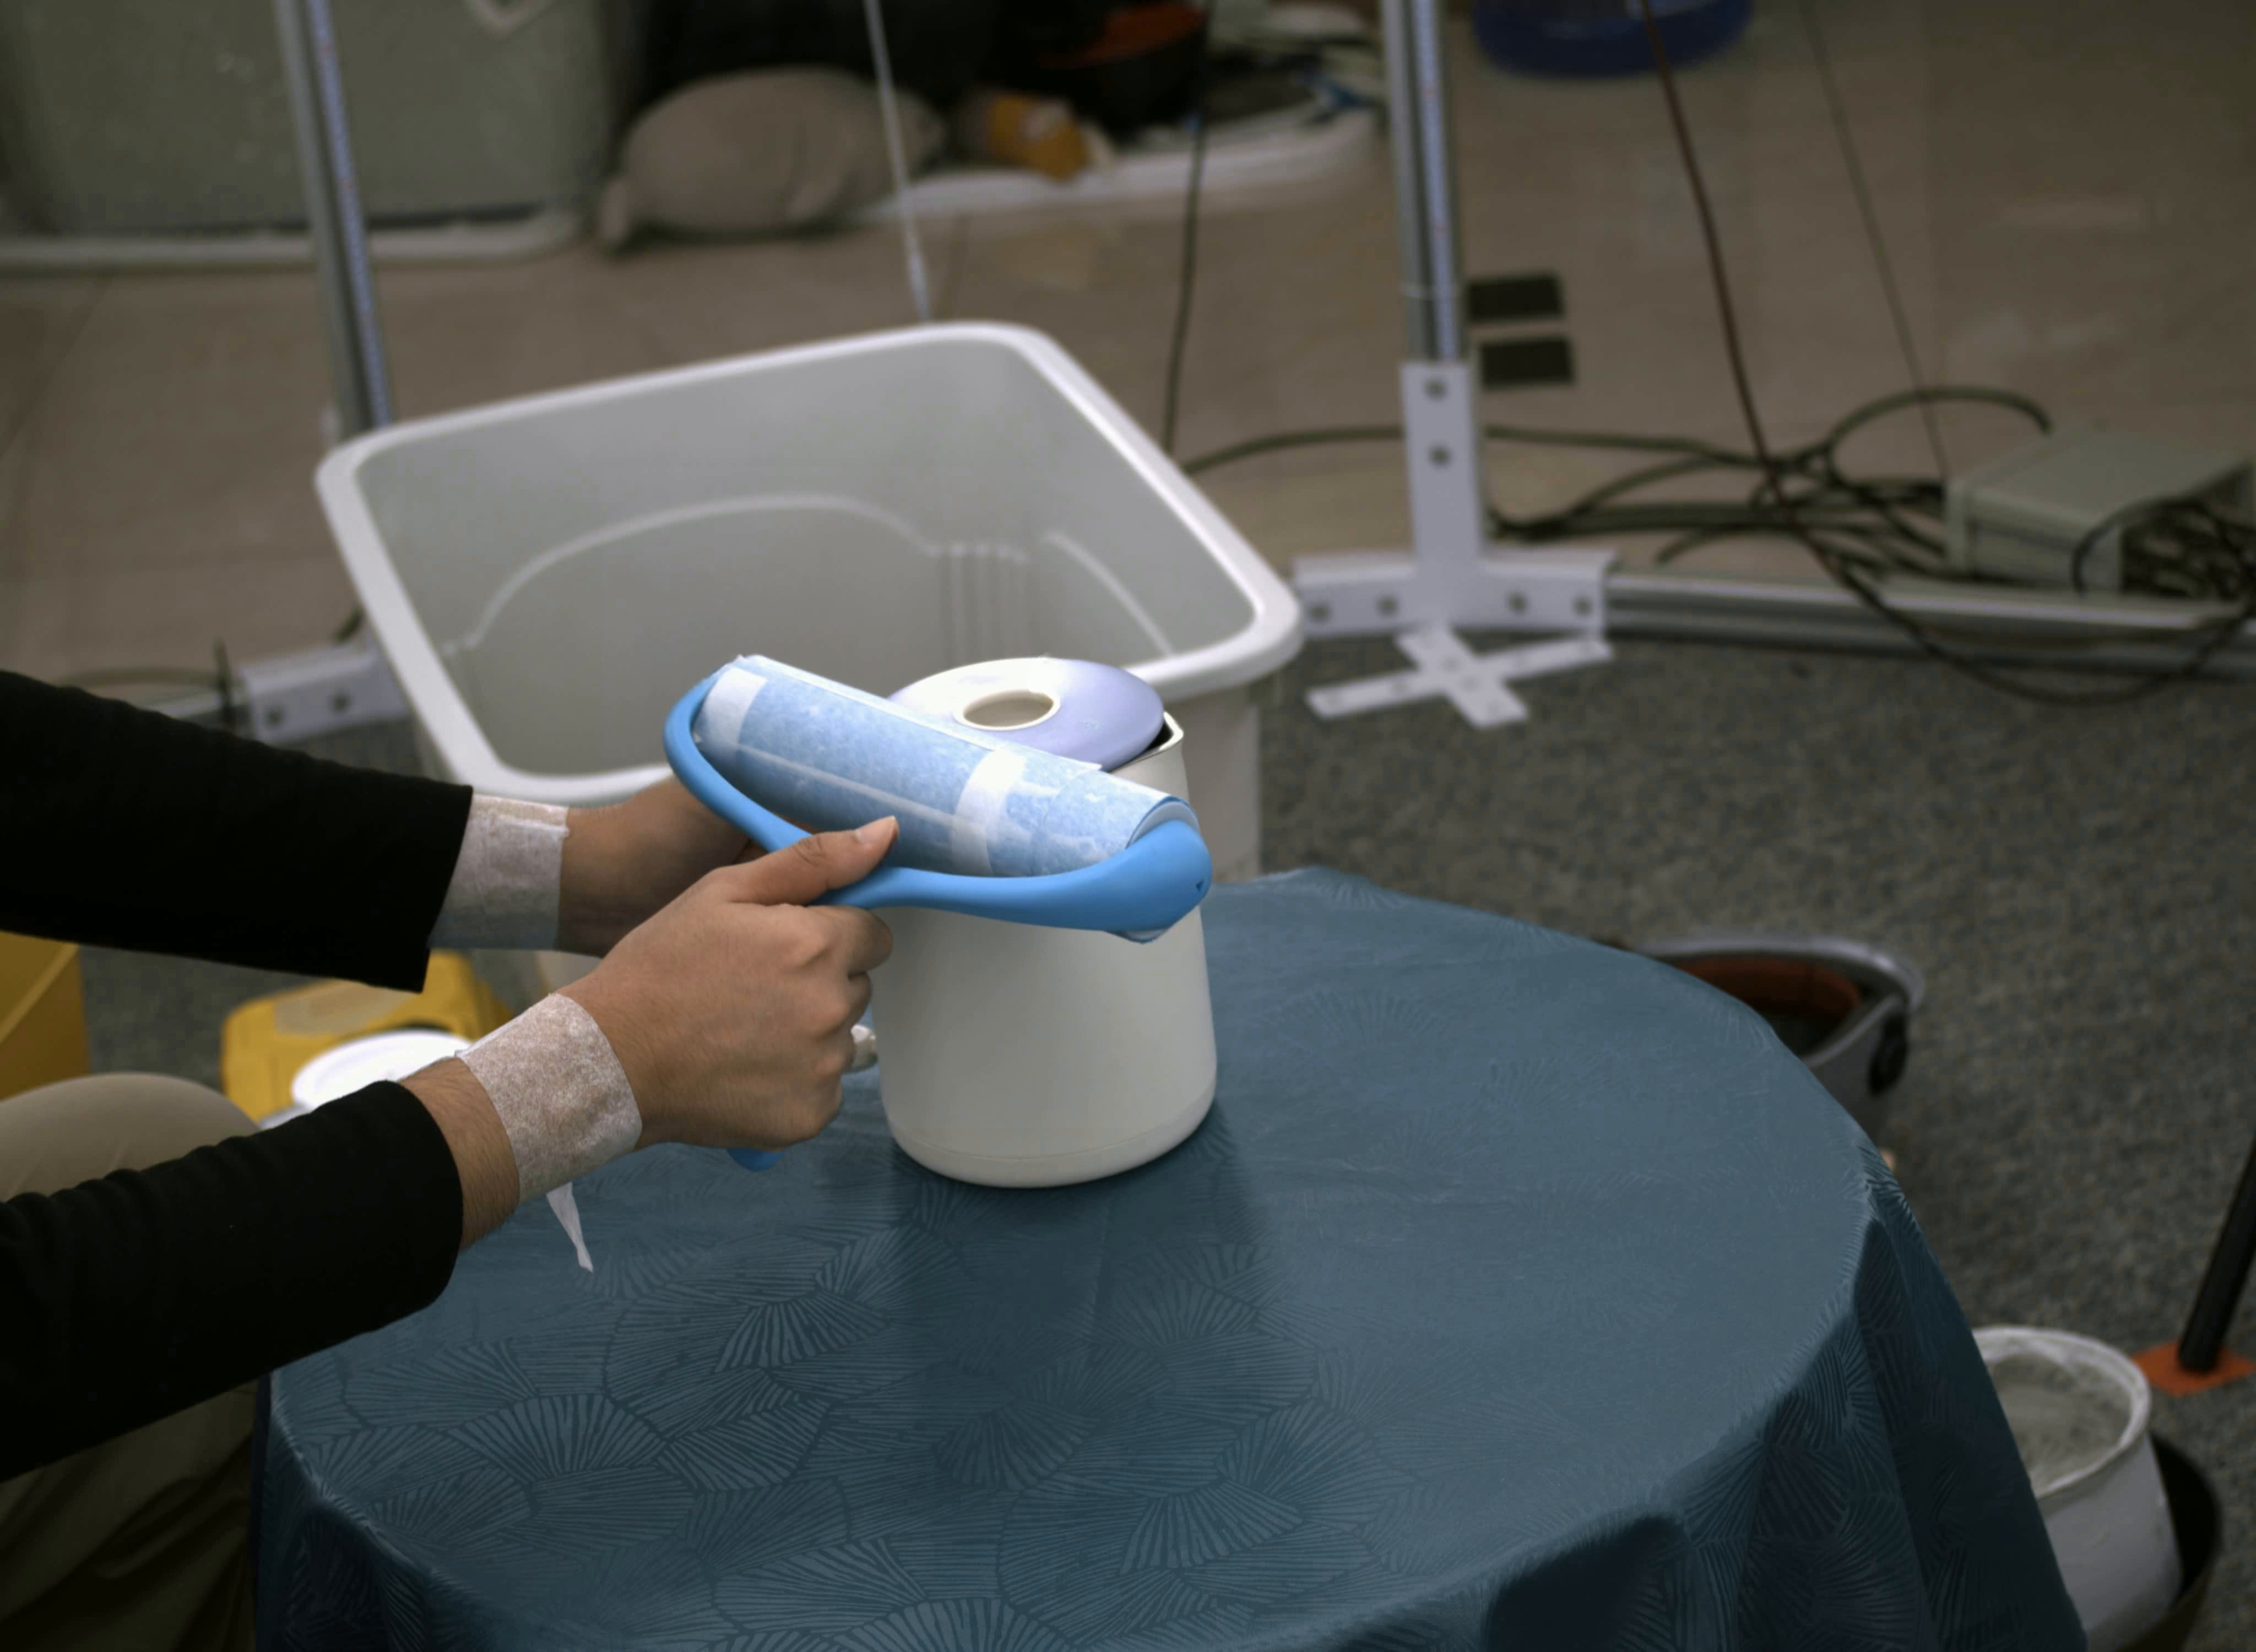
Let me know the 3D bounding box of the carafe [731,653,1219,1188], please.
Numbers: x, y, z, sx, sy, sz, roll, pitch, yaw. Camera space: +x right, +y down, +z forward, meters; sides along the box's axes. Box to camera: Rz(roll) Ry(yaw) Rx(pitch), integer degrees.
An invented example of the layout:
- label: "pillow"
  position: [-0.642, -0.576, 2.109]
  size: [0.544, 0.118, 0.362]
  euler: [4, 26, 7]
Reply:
- label: "carafe"
  position: [-0.061, 0.036, 2.177]
  size: [0.191, 0.185, 0.130]
  euler: [-1, 26, 15]

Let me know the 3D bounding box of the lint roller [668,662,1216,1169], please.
- label: "lint roller"
  position: [-0.096, 0.036, 2.015]
  size: [0.227, 0.069, 0.178]
  euler: [19, 62, 29]
